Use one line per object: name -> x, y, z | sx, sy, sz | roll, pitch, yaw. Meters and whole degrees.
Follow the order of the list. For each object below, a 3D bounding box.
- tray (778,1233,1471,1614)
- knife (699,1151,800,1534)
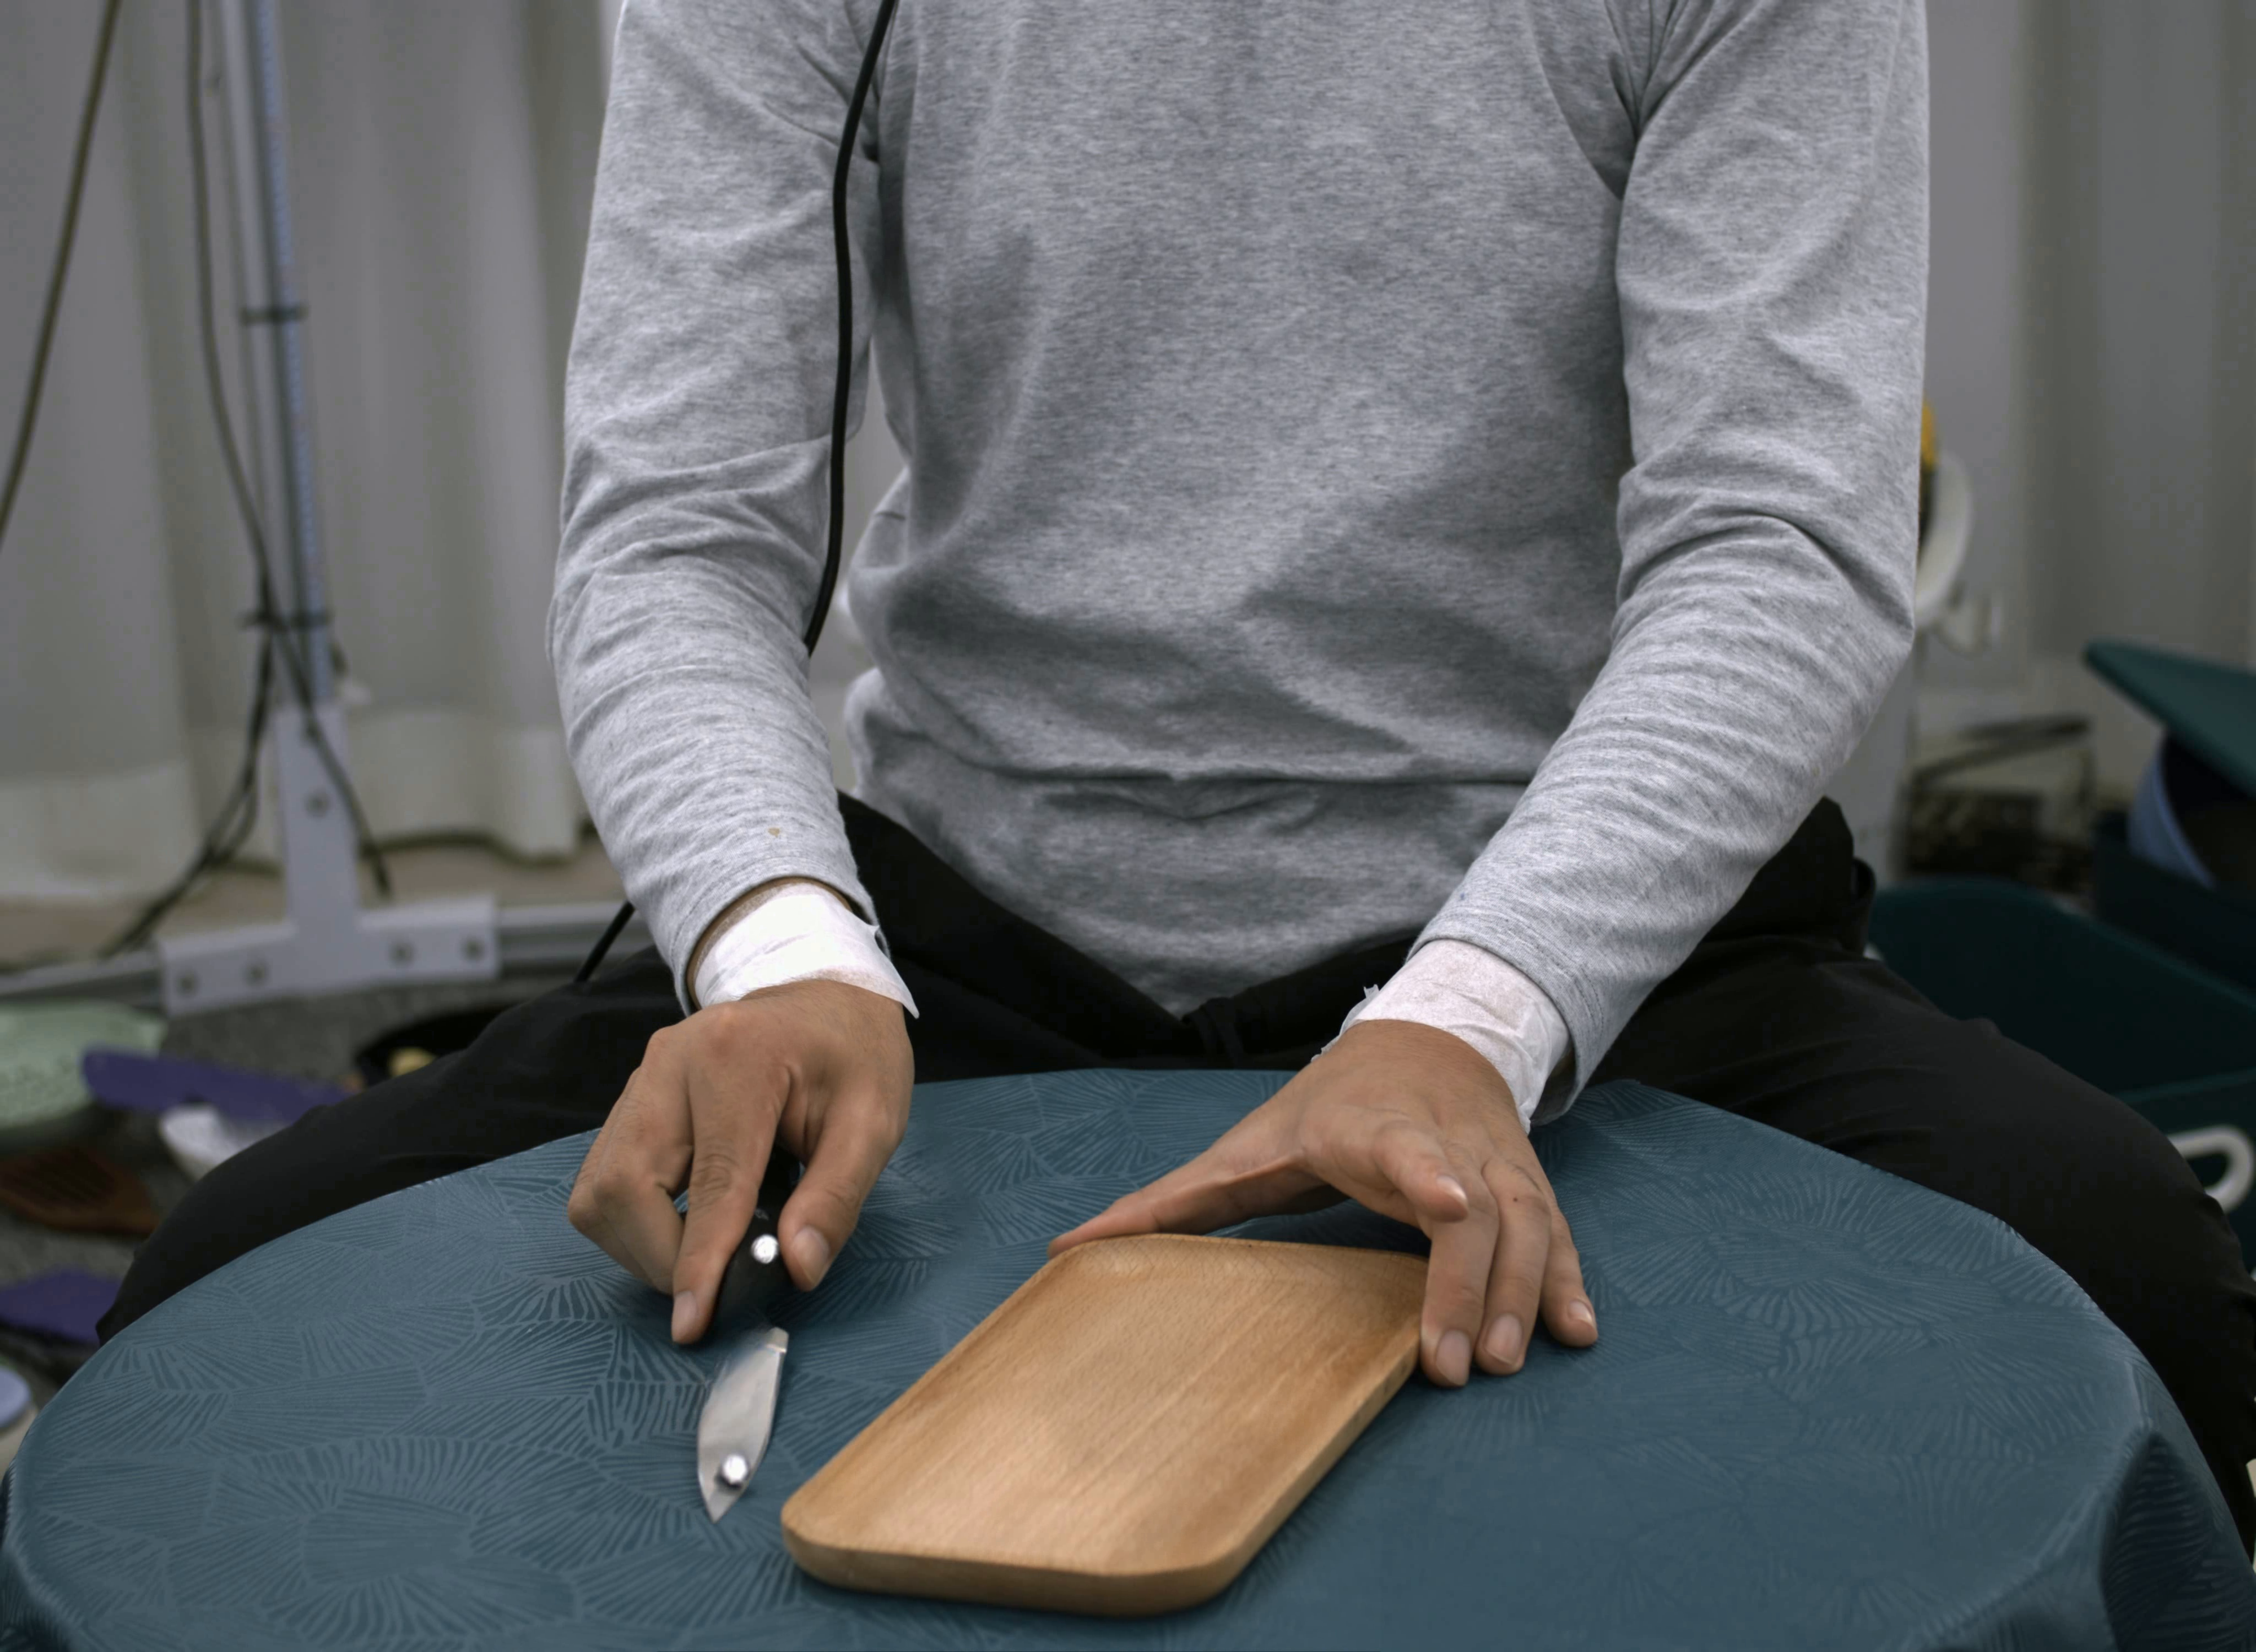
tray -> 0.004, 0.162, 1.508 | 0.130, 0.023, 0.251 | 6, 16, 21
knife -> -0.110, 0.147, 1.575 | 0.024, 0.016, 0.240 | 16, 20, -6
